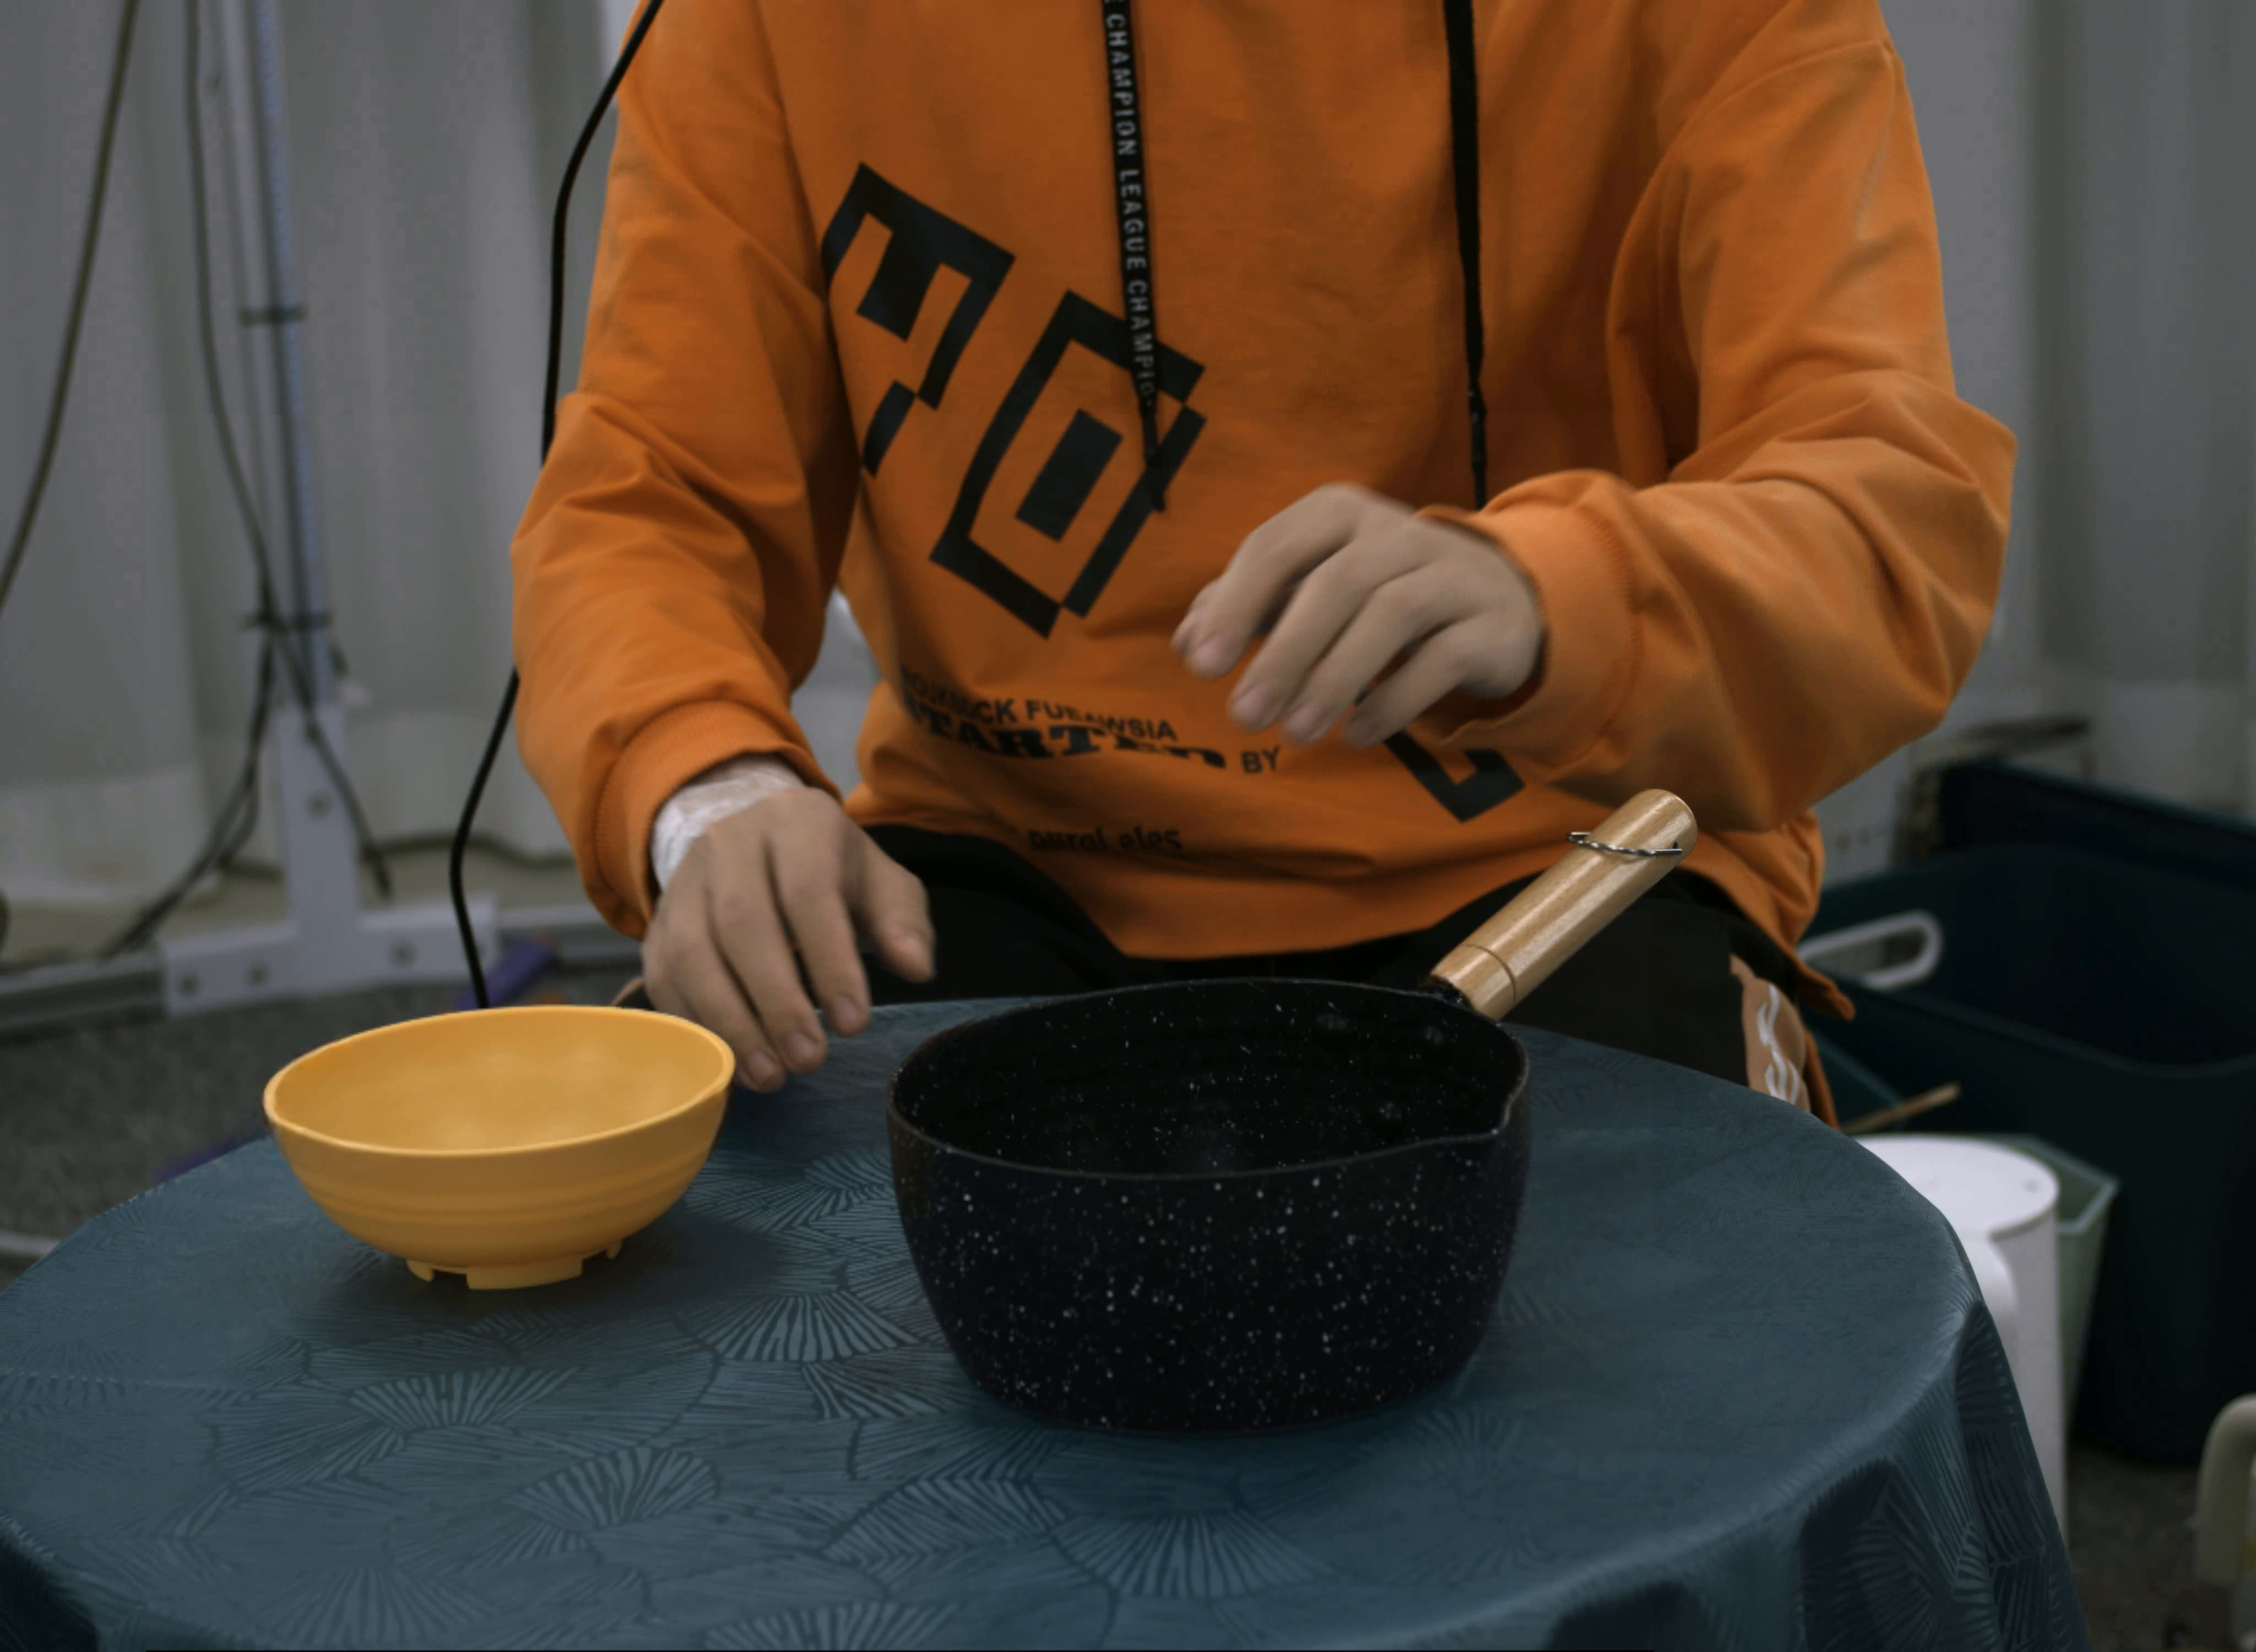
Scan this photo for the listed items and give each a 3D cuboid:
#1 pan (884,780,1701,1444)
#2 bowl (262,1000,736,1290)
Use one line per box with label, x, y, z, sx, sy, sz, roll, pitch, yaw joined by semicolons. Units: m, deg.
pan;0.071;0.080;1.624;0.208;0.108;0.343;6;19;36
bowl;-0.191;0.104;1.681;0.145;0.060;0.146;-2;16;0
